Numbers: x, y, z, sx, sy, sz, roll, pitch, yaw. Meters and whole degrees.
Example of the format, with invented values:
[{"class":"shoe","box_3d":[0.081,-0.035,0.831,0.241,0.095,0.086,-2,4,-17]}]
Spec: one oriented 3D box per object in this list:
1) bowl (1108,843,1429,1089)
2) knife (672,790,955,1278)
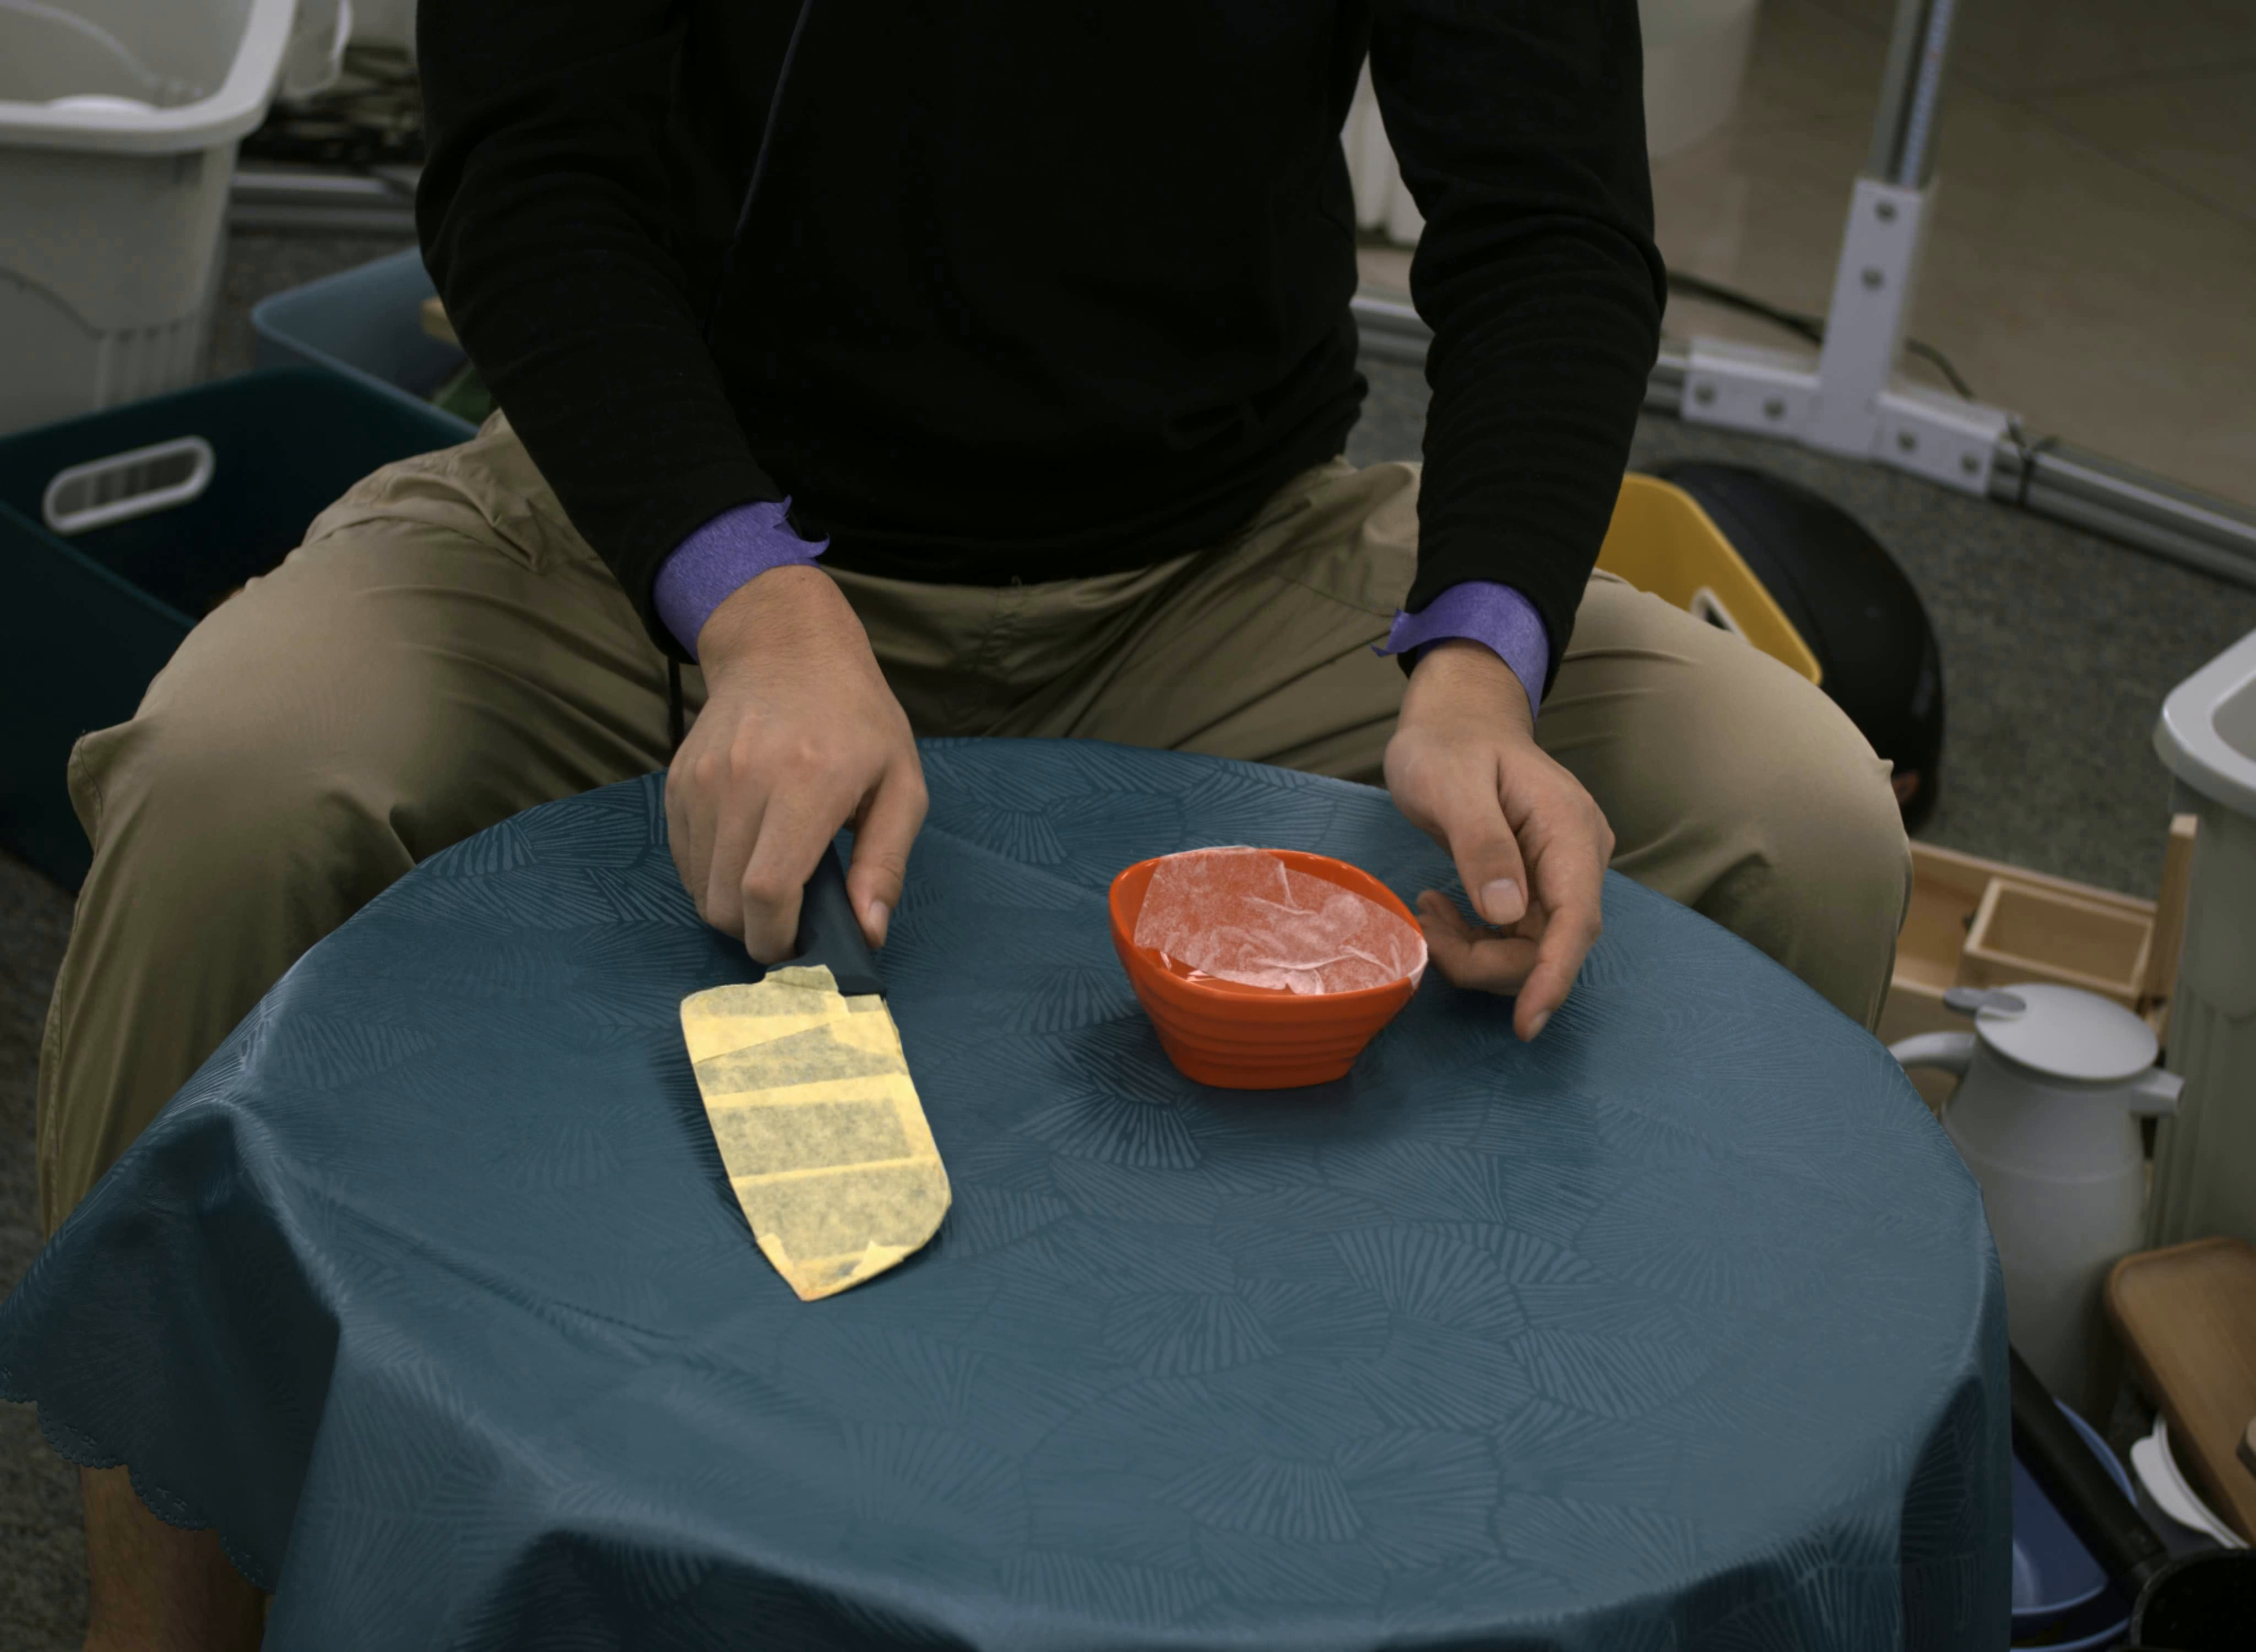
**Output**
[{"class":"bowl","box_3d":[0.047,0.054,1.894,0.118,0.051,0.119,4,29,-3]},{"class":"knife","box_3d":[-0.116,0.070,1.848,0.080,0.027,0.292,-3,32,-12]}]
